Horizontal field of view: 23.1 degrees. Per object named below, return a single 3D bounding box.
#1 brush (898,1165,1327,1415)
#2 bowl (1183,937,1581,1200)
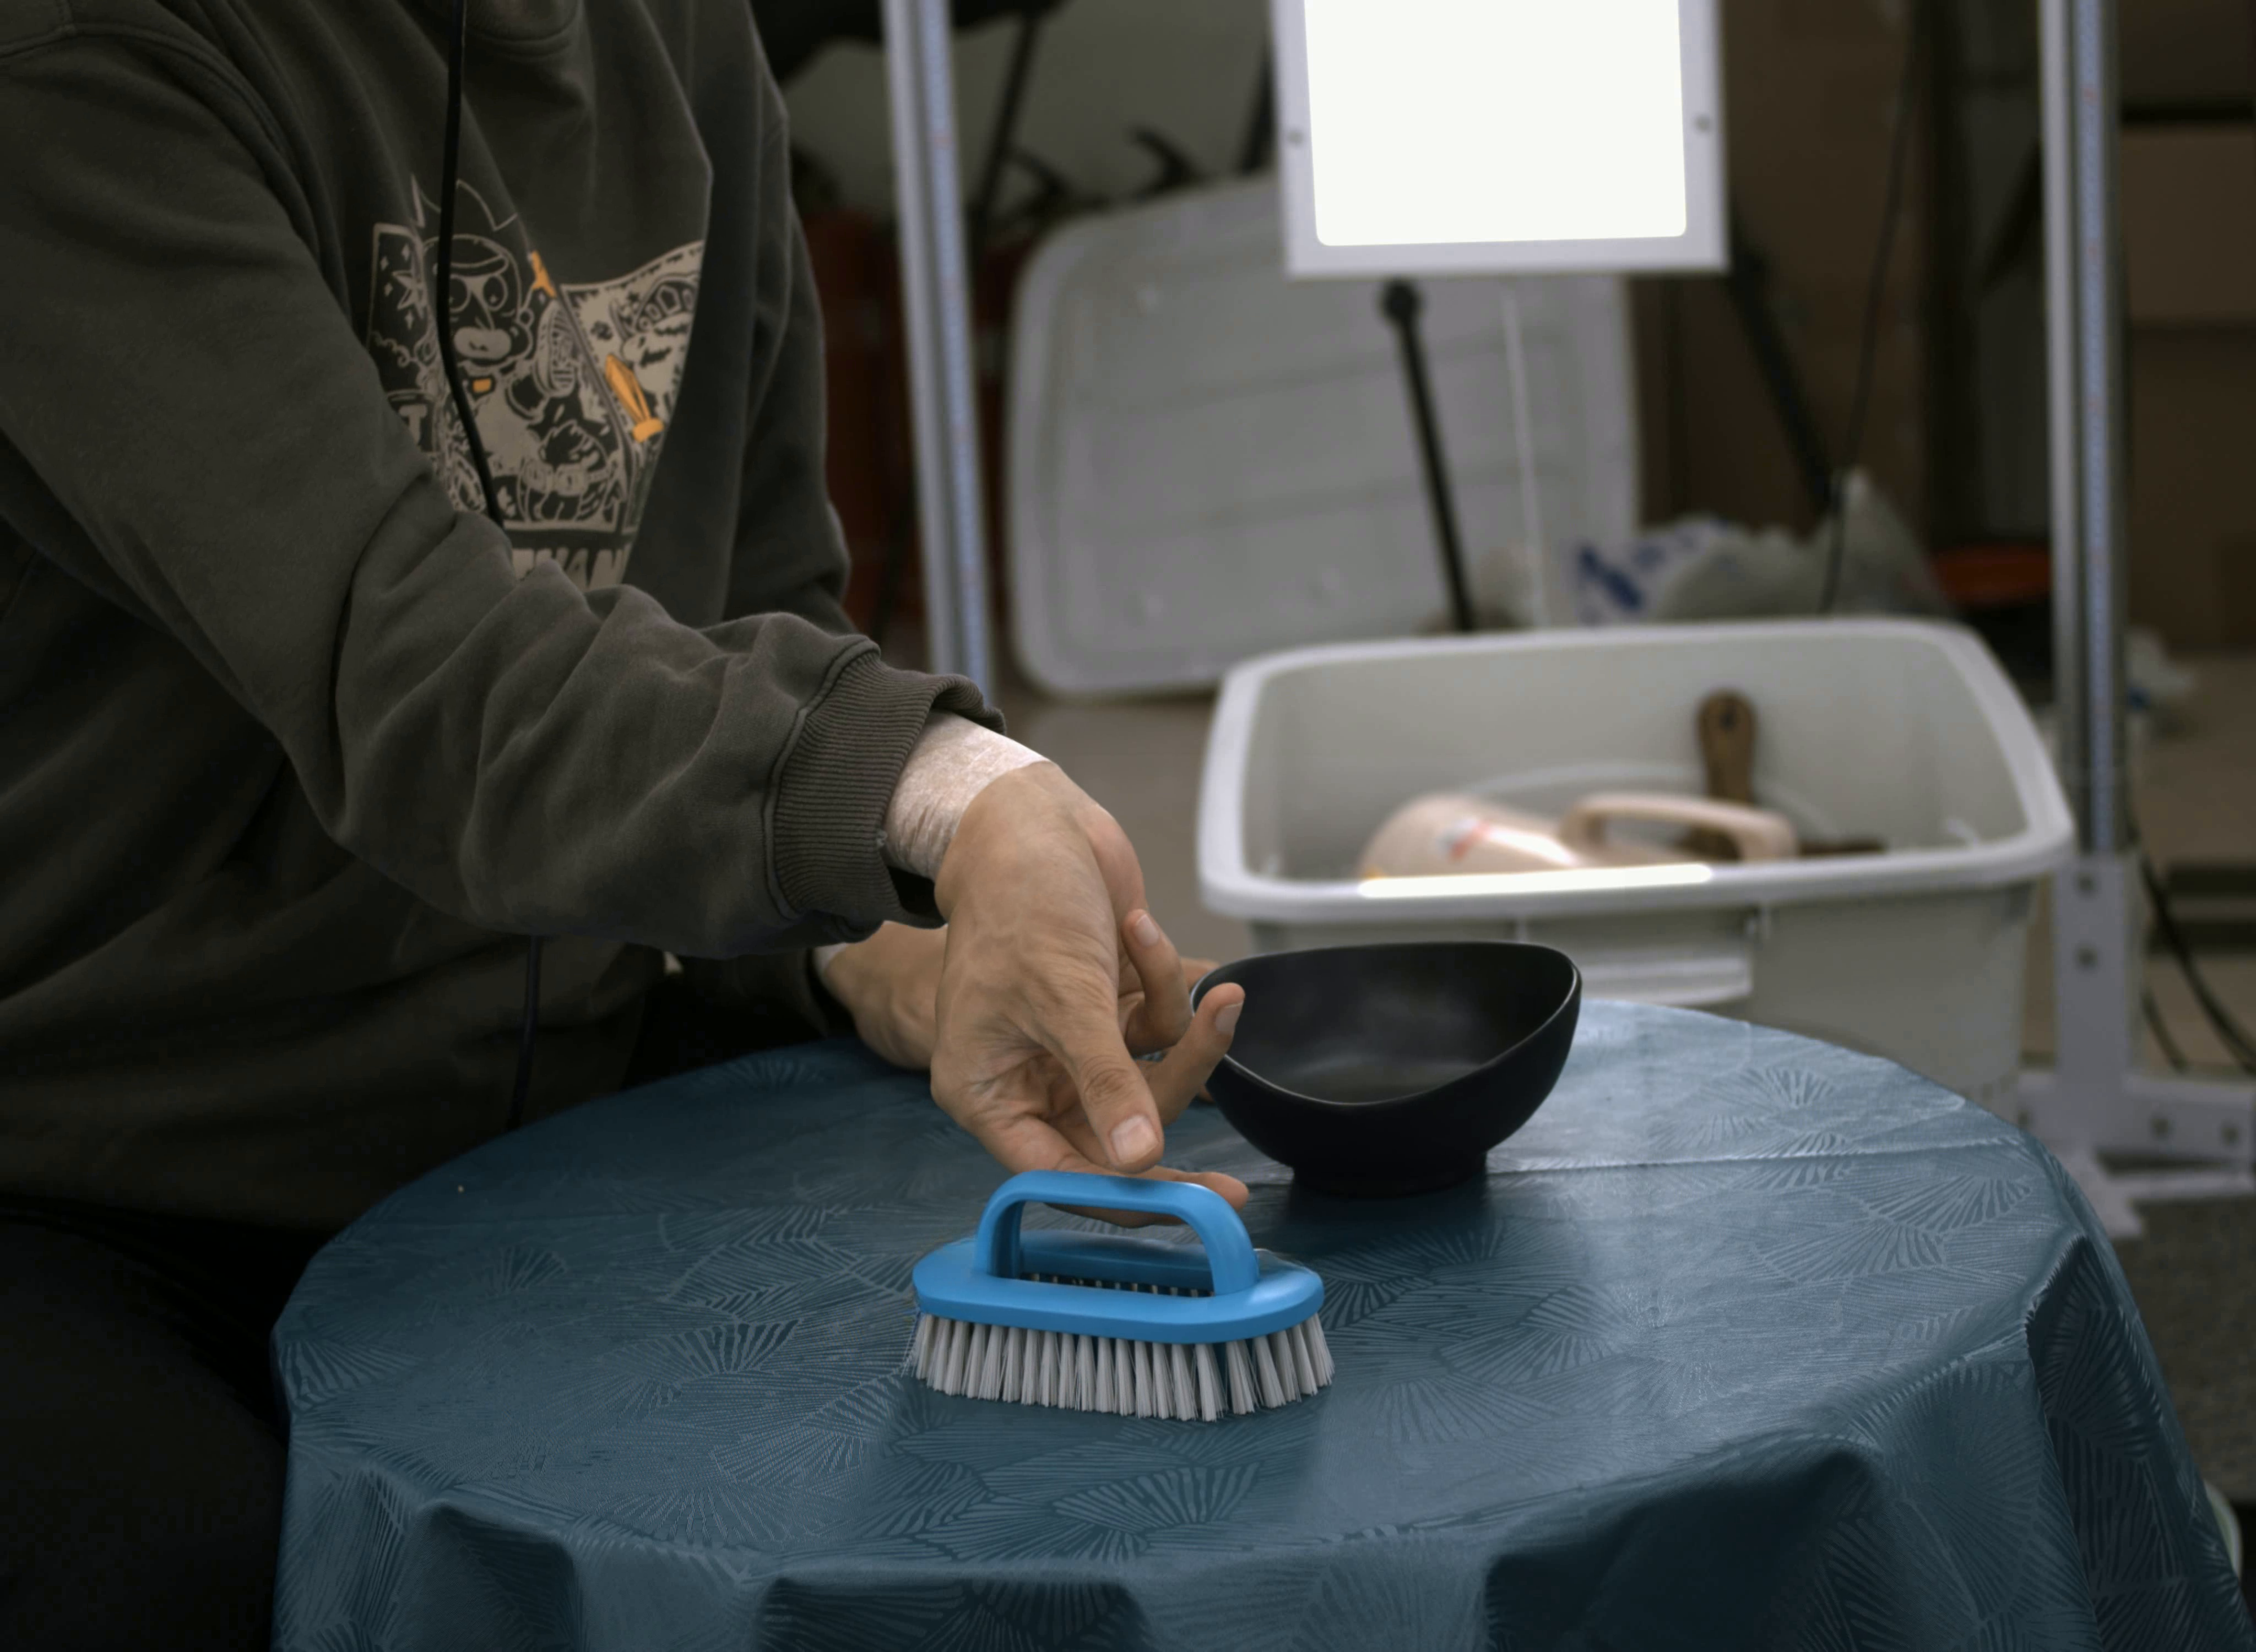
[{"bbox_3d":[-0.004,0.139,1.710,0.144,0.064,0.082,5,12,31],"label":"brush"},{"bbox_3d":[0.090,0.087,1.892,0.138,0.067,0.169,-4,15,8],"label":"bowl"}]
